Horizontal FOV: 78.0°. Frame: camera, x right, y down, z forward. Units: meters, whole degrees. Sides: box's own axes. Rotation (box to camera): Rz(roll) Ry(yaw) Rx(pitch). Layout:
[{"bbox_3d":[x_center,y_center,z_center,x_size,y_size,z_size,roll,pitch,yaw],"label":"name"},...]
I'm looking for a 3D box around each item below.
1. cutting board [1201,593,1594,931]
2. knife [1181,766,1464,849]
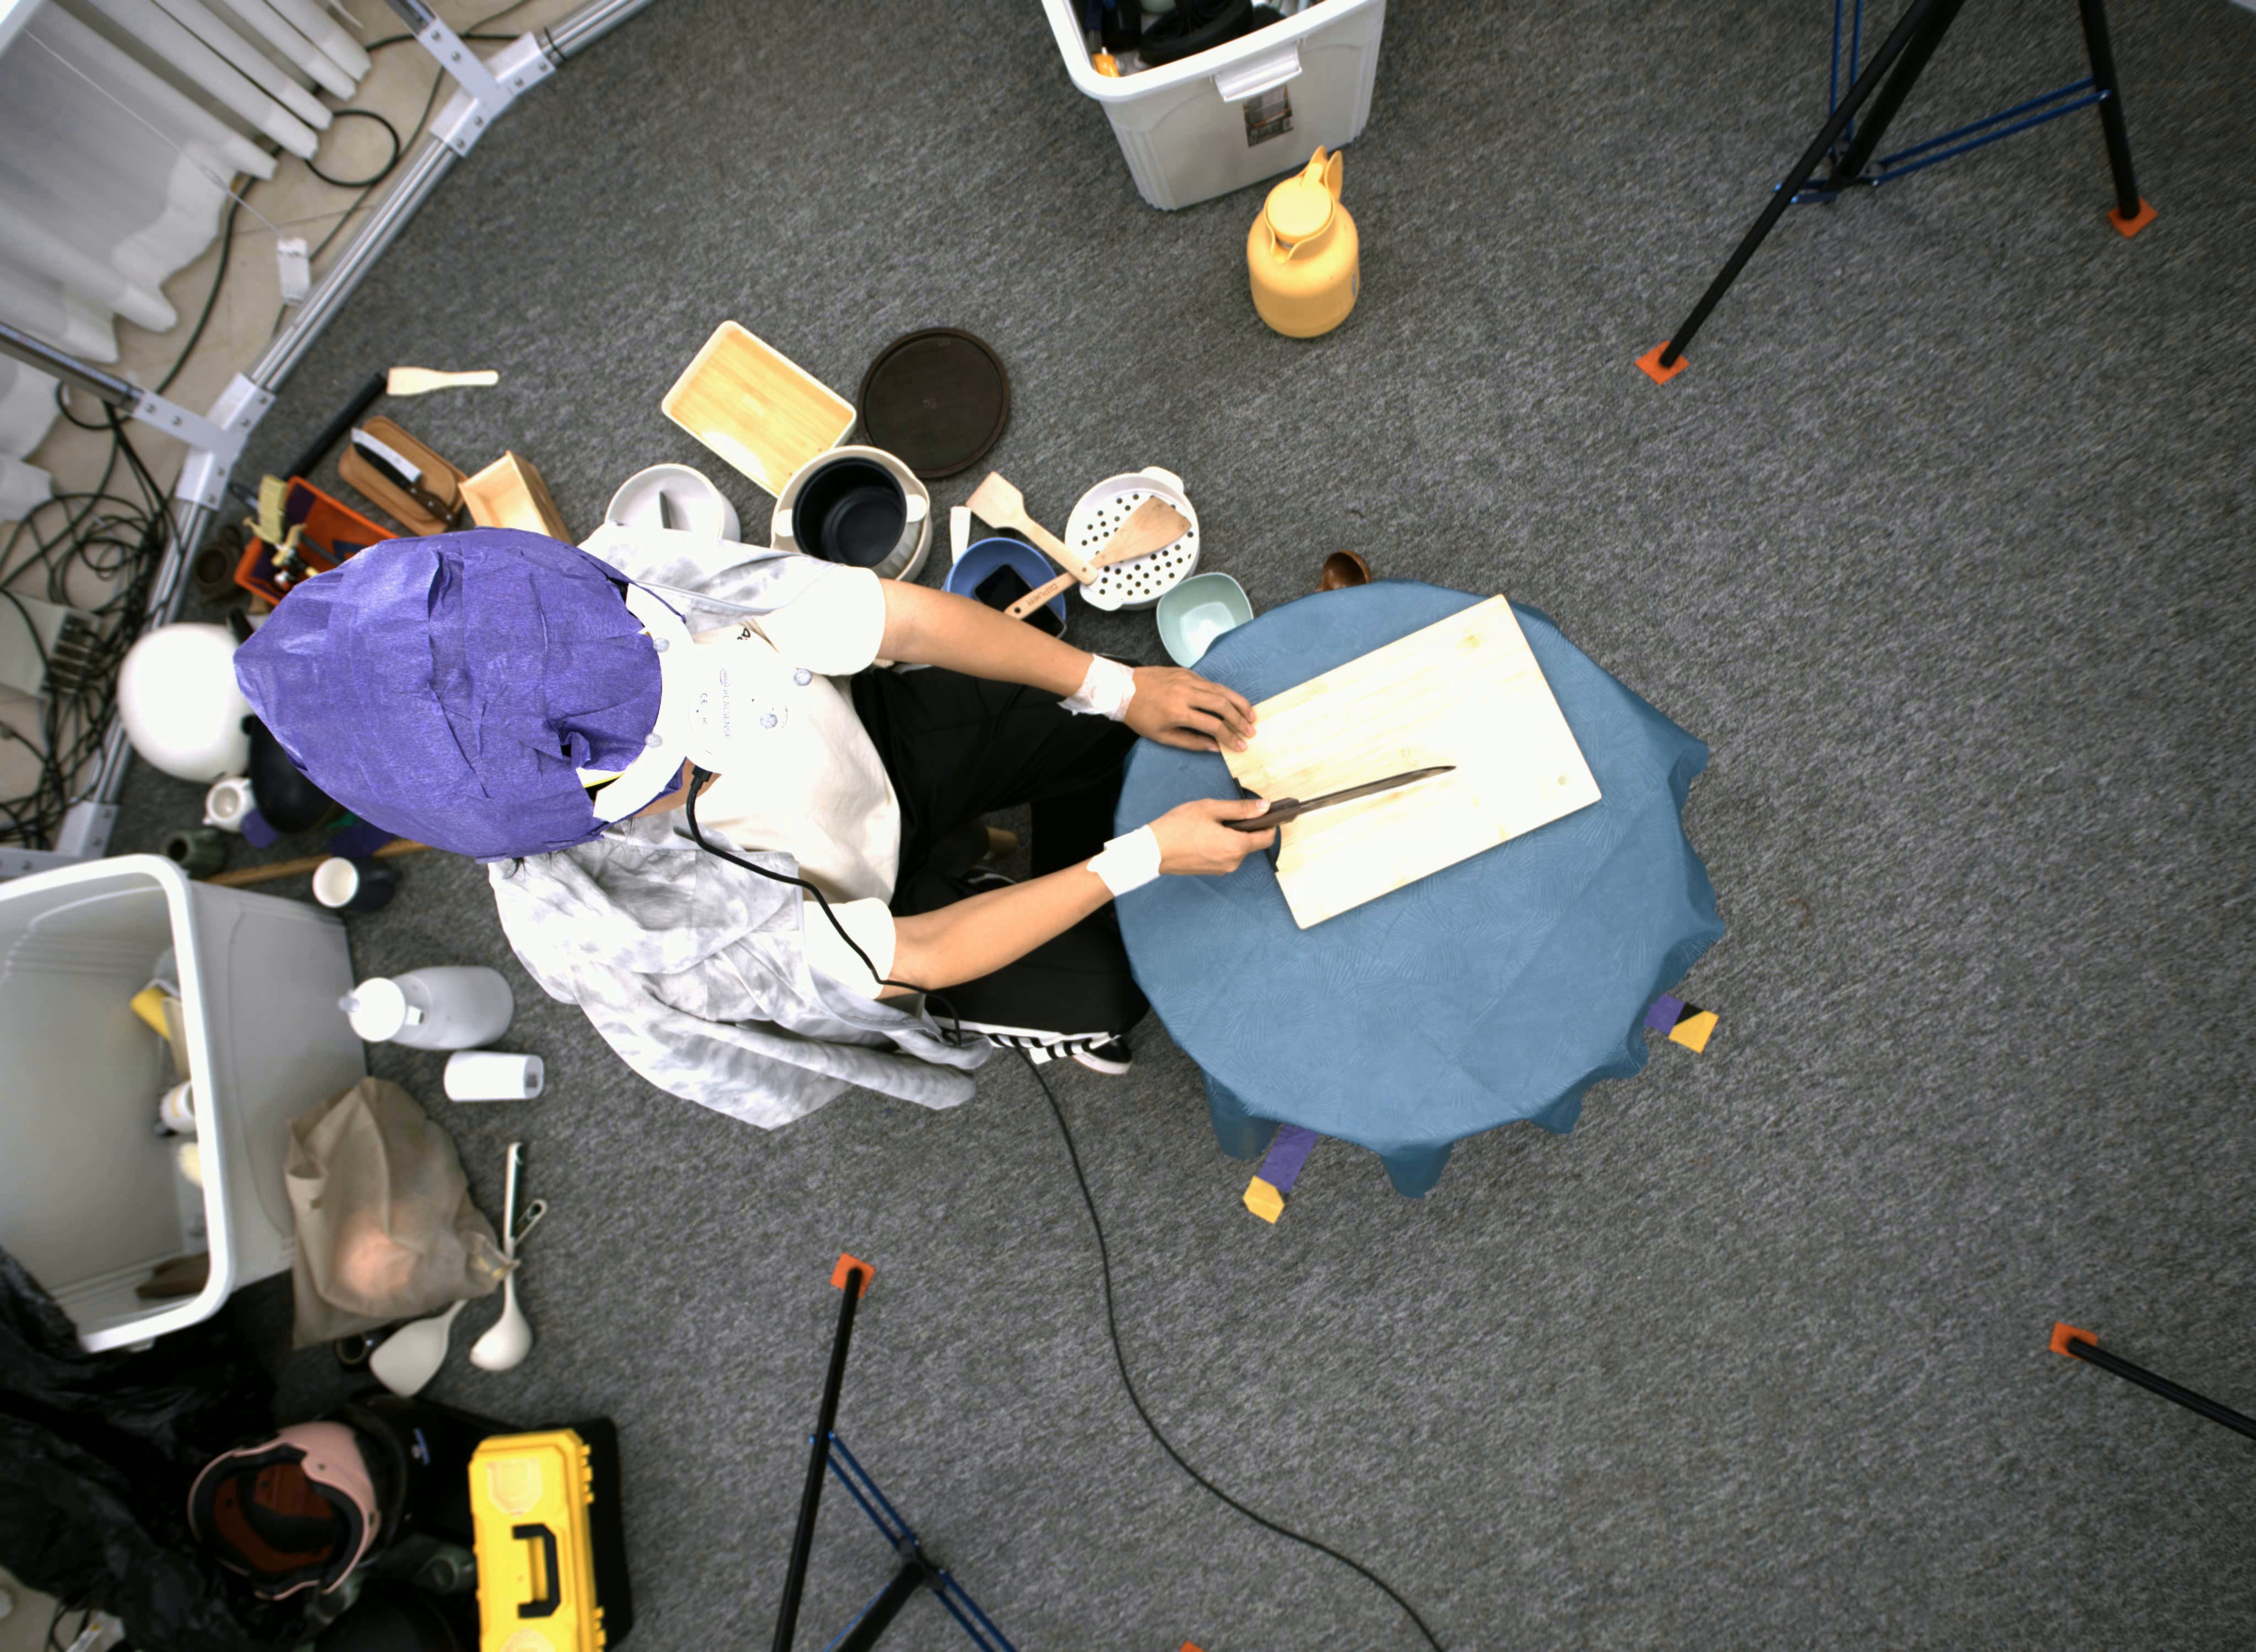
[{"bbox_3d":[0.283,-0.068,1.455,0.351,0.023,0.249,-25,82,9],"label":"cutting board"},{"bbox_3d":[0.202,-0.023,1.420,0.301,0.068,0.023,-16,75,6],"label":"knife"}]
